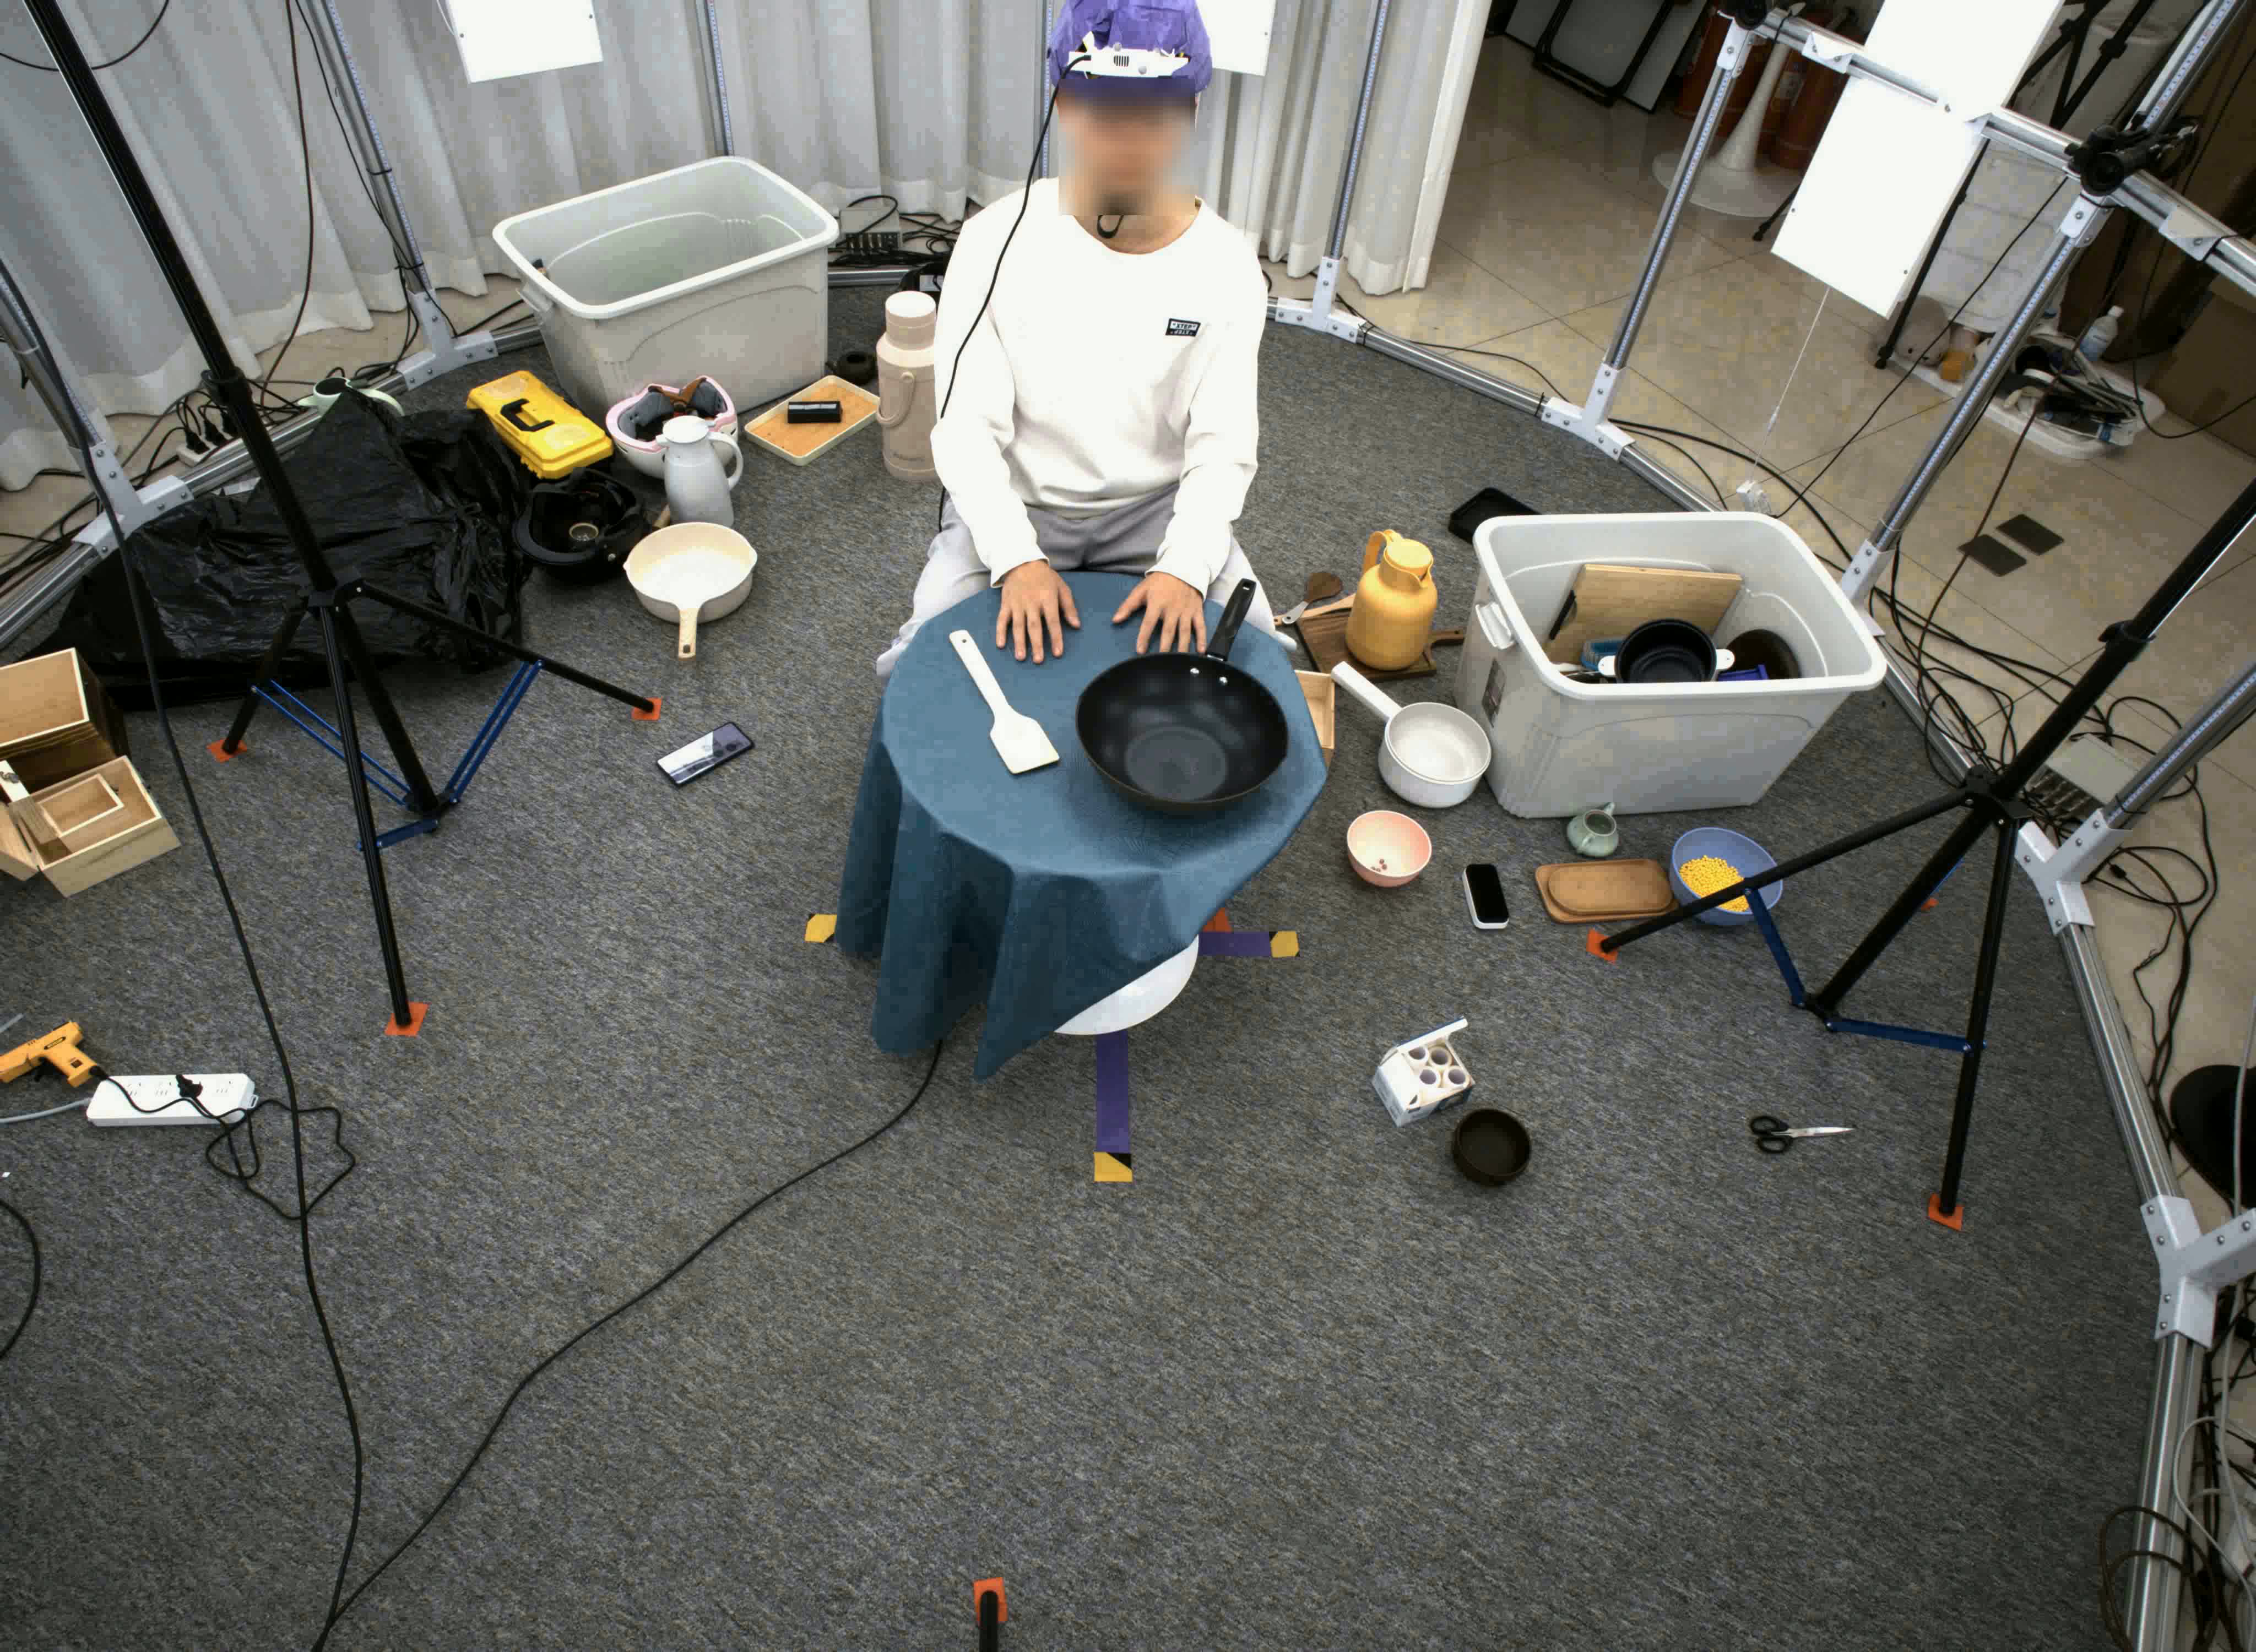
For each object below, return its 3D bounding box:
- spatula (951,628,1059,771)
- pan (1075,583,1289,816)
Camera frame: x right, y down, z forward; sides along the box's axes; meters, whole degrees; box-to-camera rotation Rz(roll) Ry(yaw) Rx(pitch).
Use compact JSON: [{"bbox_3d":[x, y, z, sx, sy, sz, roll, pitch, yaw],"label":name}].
[{"bbox_3d":[-0.186,-0.184,1.805,0.072,0.010,0.299,-19,53,-18],"label":"spatula"},{"bbox_3d":[0.099,-0.174,1.770,0.289,0.085,0.473,18,49,10],"label":"pan"}]
